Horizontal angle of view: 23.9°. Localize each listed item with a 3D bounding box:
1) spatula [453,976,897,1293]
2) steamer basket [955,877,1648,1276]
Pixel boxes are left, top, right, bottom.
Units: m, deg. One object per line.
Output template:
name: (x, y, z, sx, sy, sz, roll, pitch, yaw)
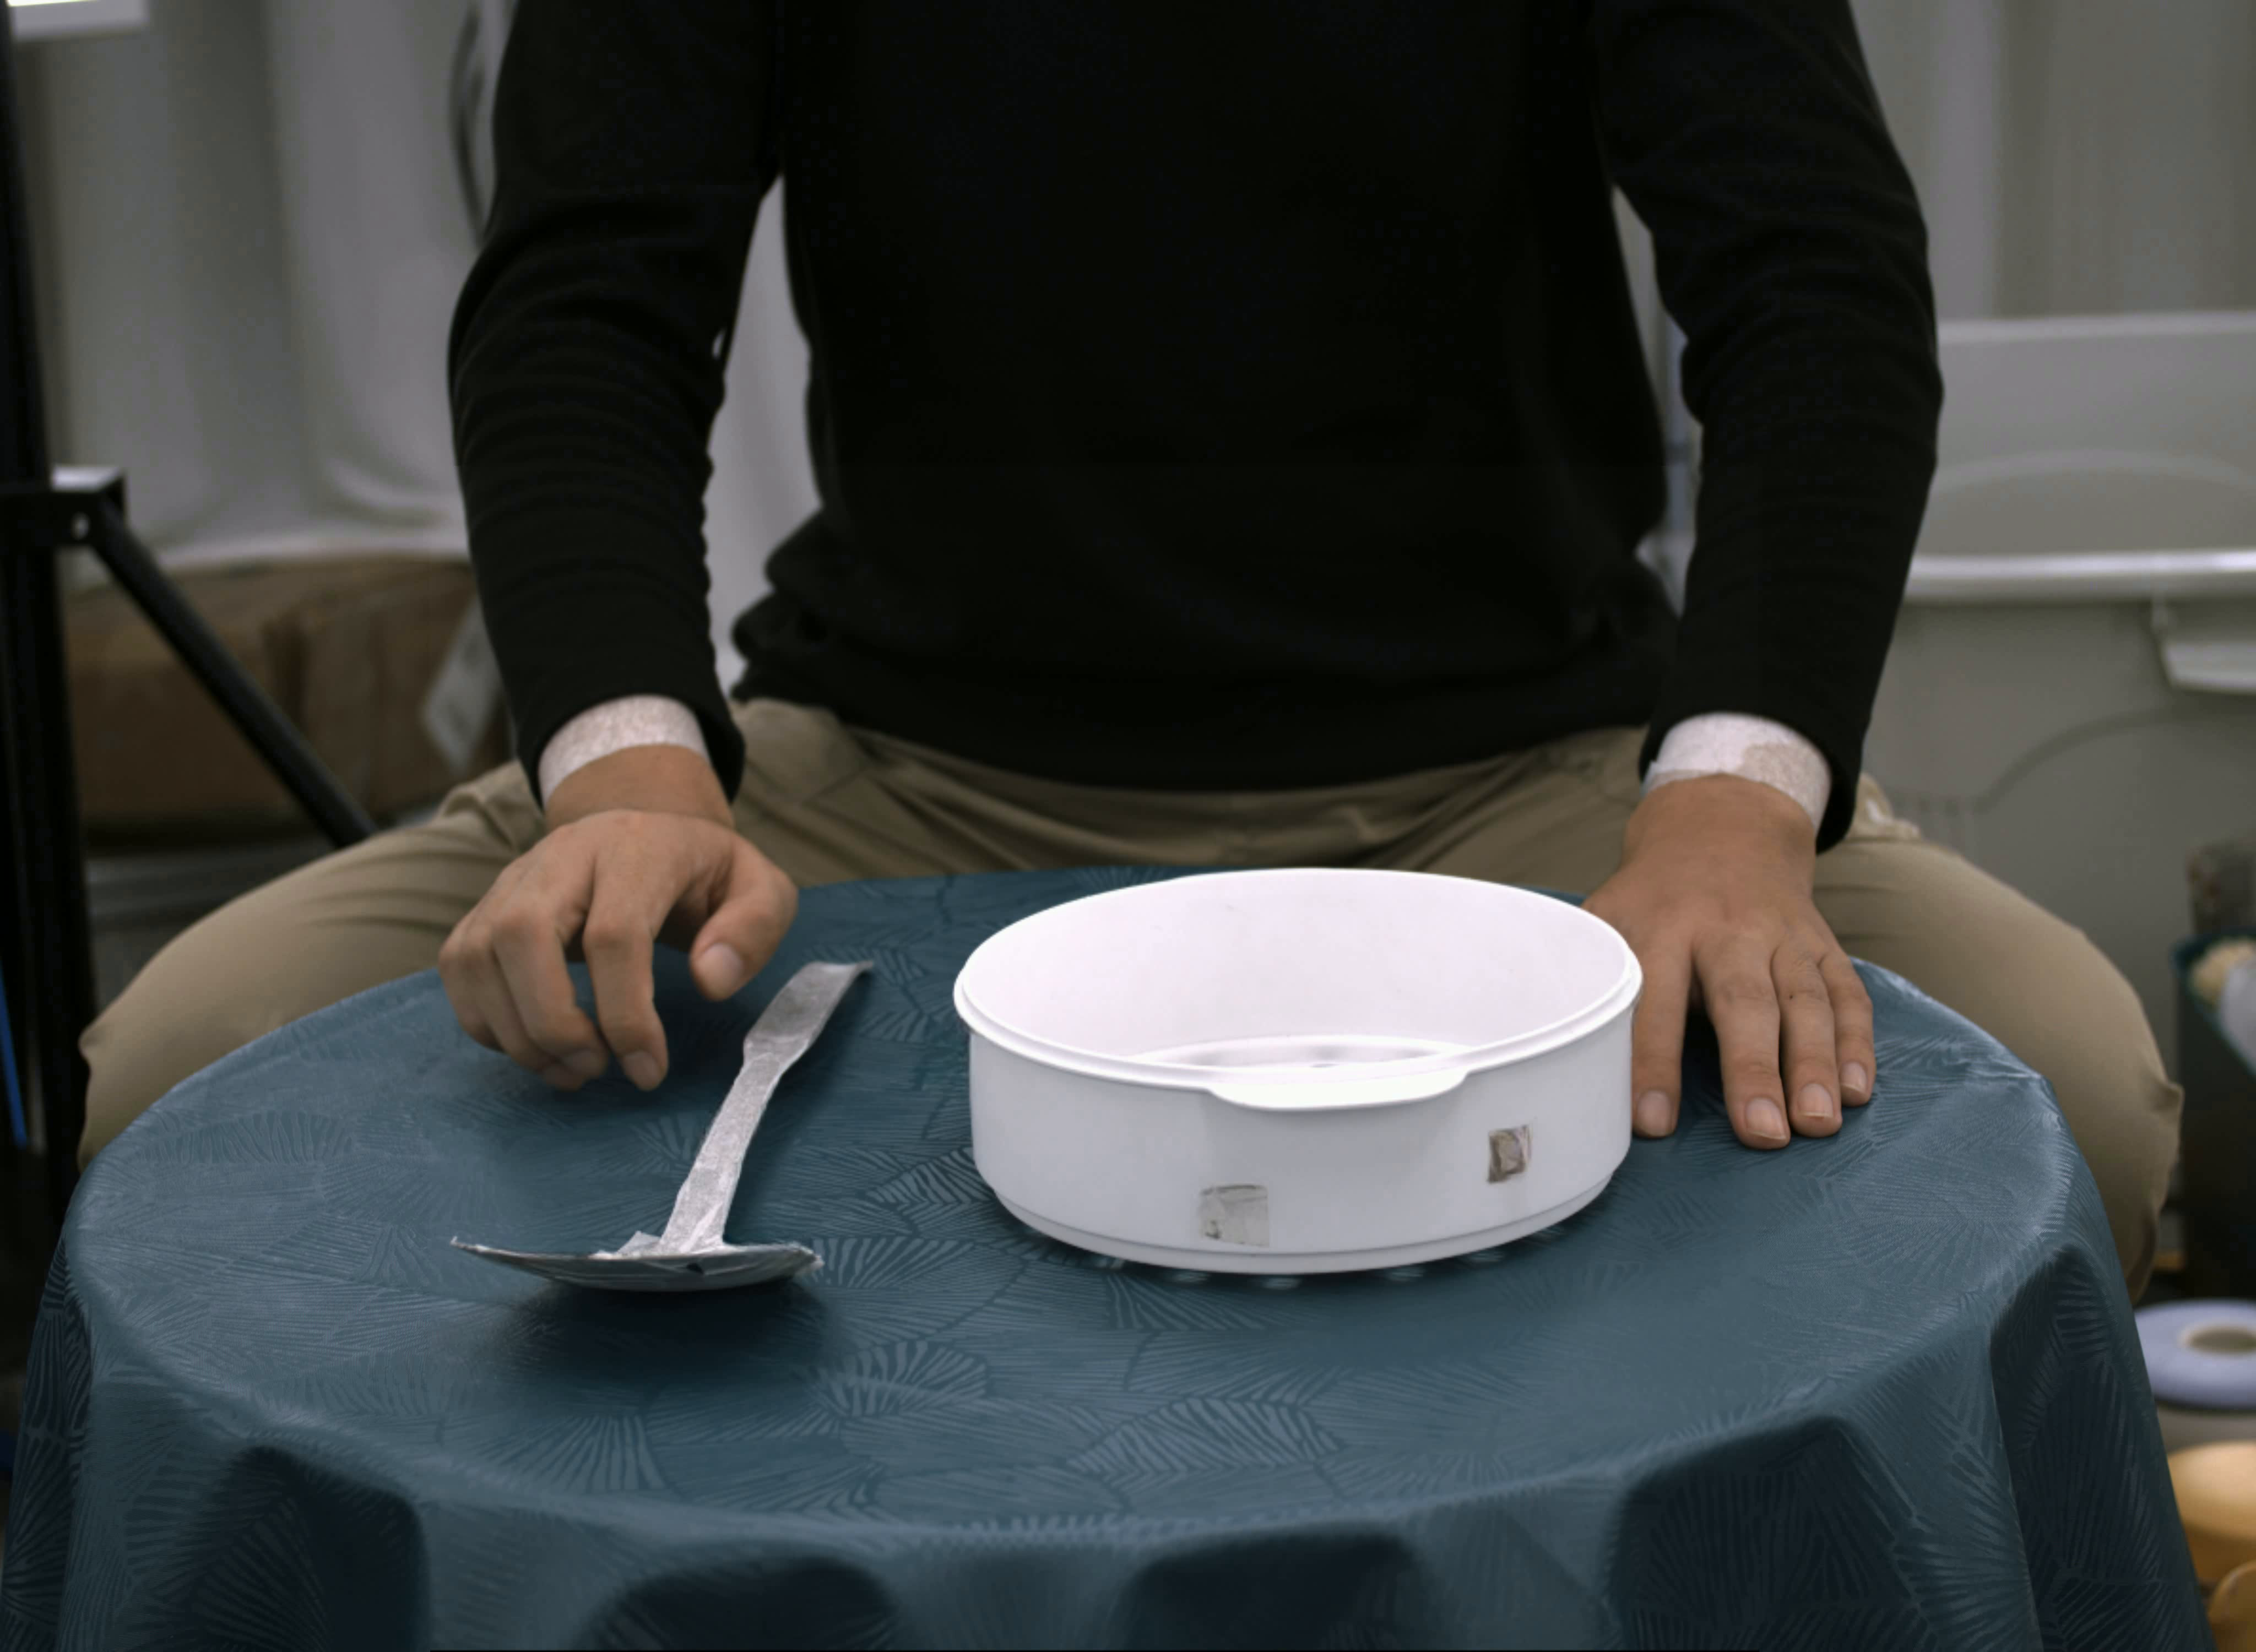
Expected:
spatula: (-0.113, 0.083, 1.595, 0.099, 0.045, 0.364, -3, 16, 9)
steamer basket: (0.051, 0.072, 1.547, 0.200, 0.069, 0.232, -2, 15, -3)
